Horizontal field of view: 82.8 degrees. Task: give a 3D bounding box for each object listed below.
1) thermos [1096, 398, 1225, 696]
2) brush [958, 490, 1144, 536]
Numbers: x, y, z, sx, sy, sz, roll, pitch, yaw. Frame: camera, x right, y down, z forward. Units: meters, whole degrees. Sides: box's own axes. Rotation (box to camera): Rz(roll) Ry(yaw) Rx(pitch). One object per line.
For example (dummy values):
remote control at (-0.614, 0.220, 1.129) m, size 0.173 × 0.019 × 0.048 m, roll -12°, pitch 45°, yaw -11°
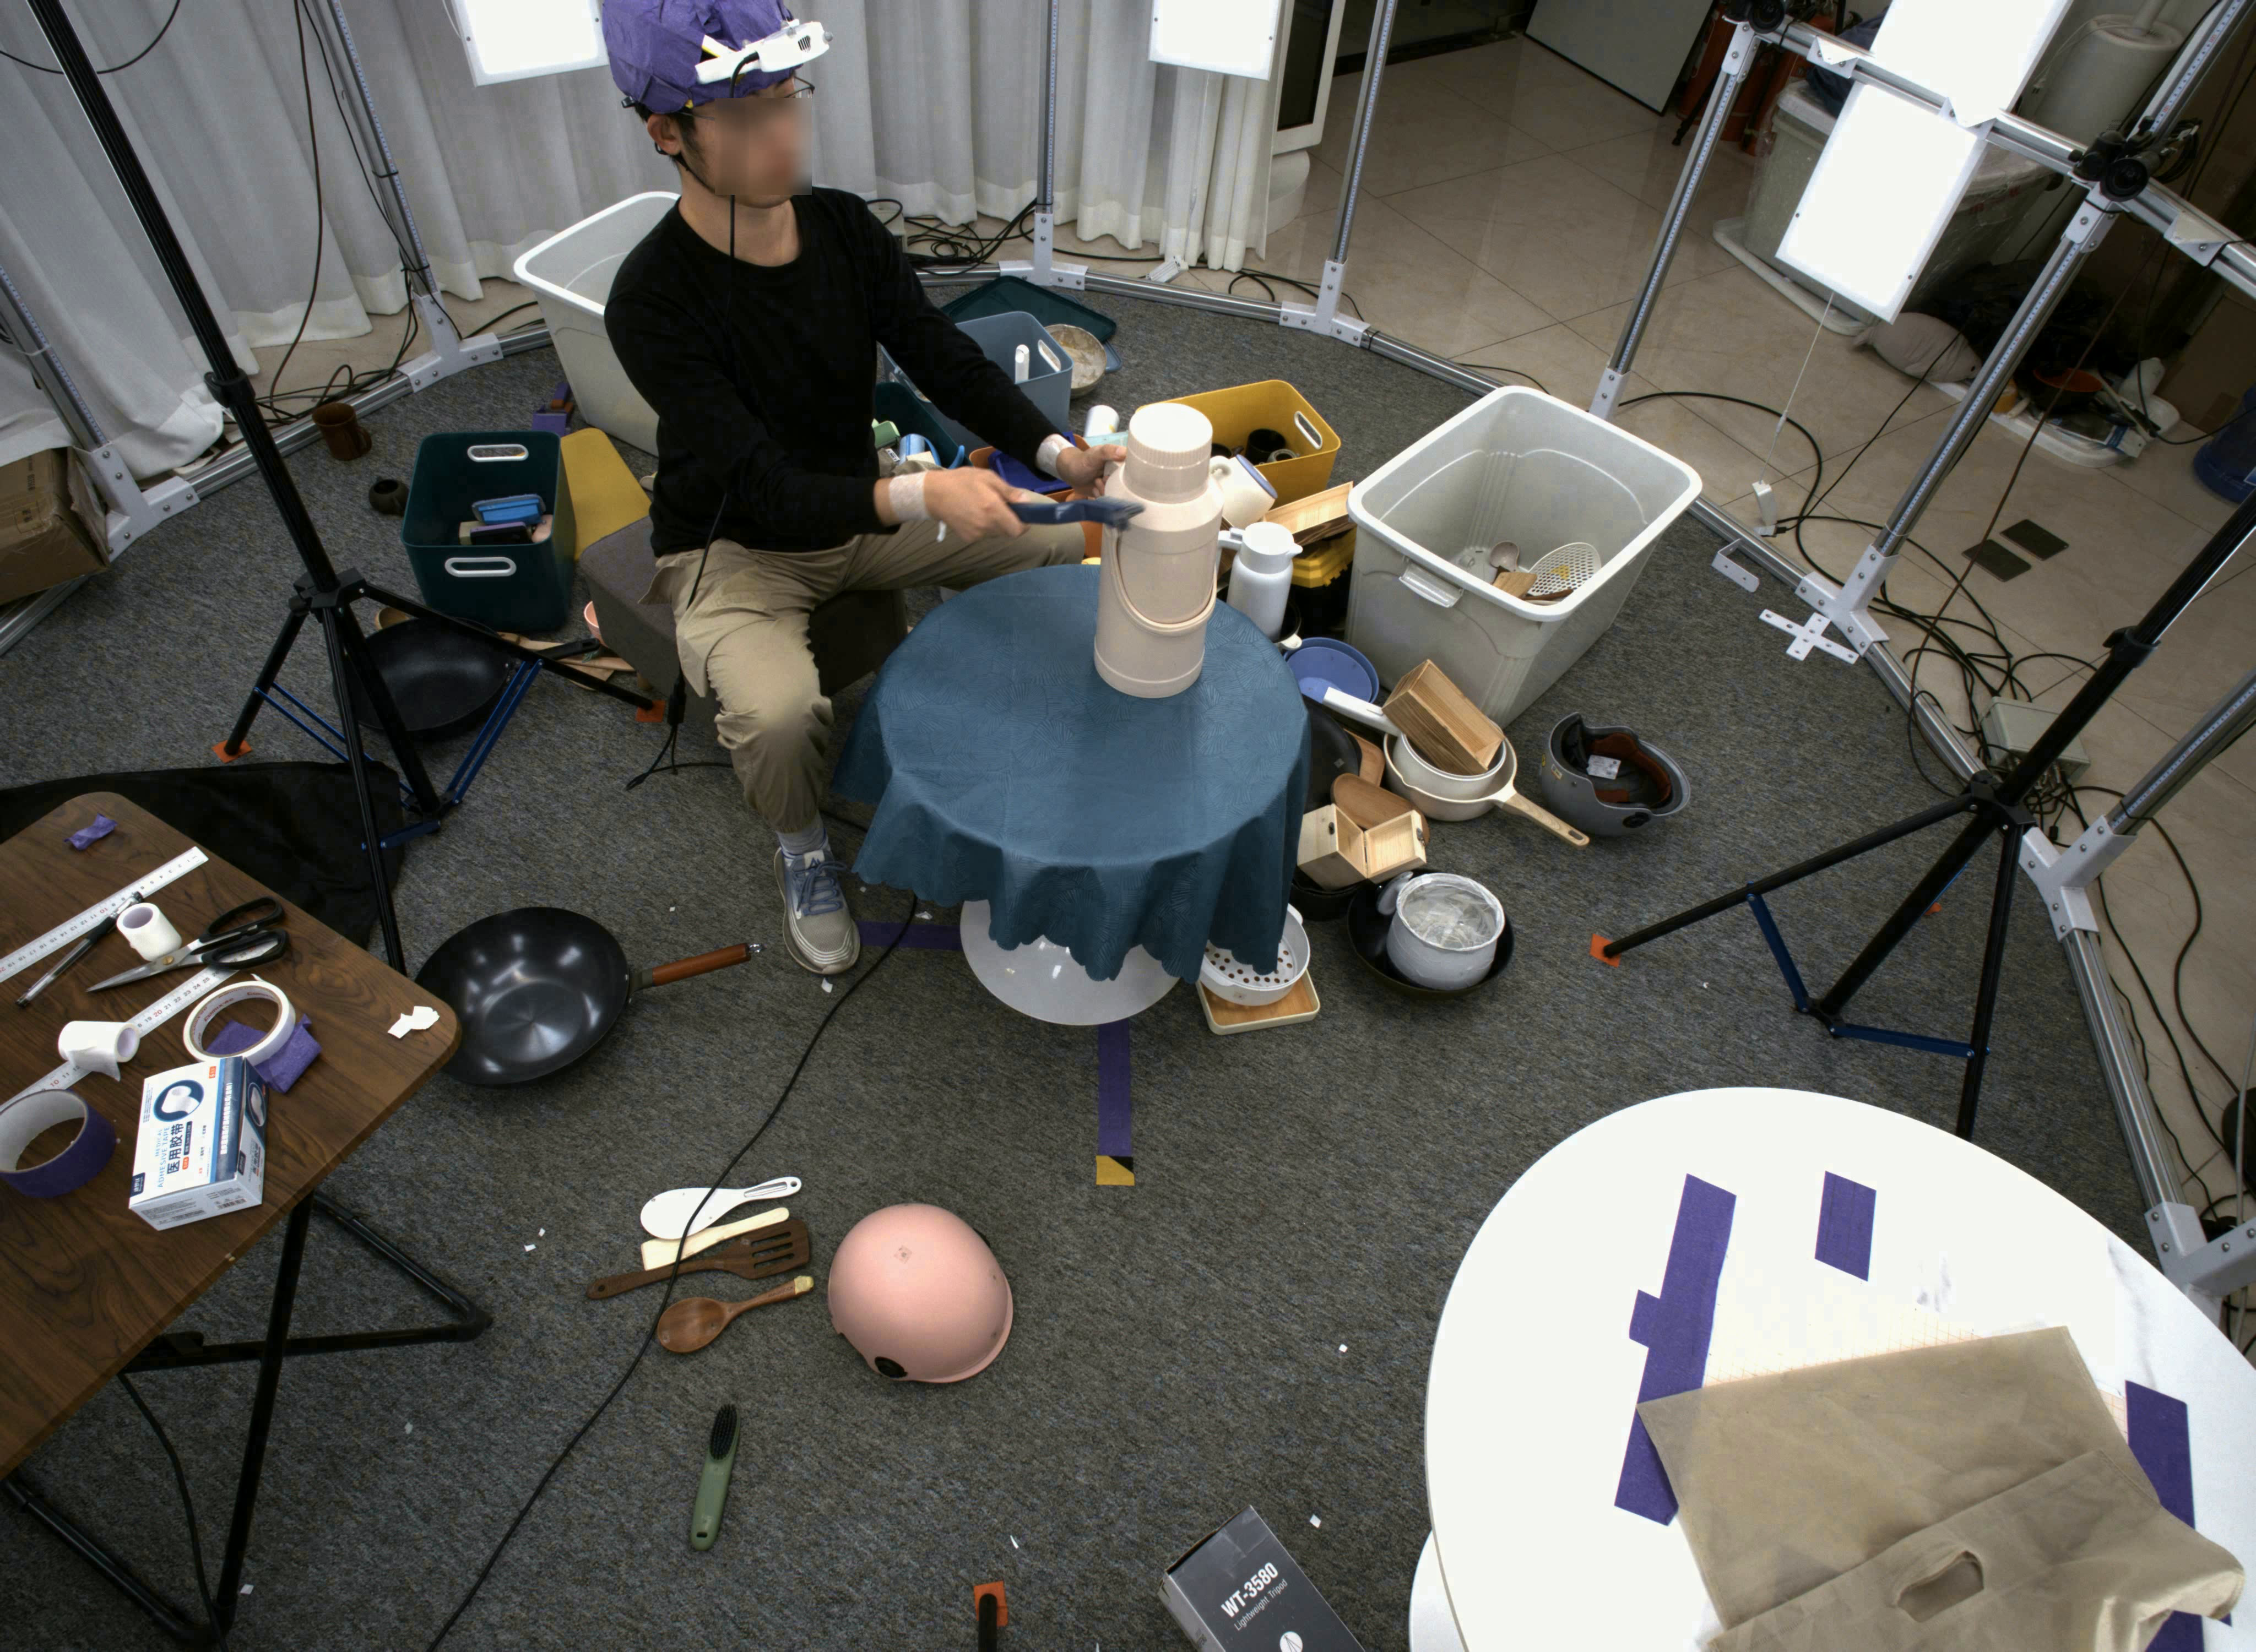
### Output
thermos at (0.035, -0.380, 1.746) m, size 0.176 × 0.396 × 0.211 m, roll -28°, pitch 57°, yaw -23°
brush at (-0.109, -0.392, 1.605) m, size 0.274 × 0.033 × 0.097 m, roll 7°, pitch 34°, yaw 26°
